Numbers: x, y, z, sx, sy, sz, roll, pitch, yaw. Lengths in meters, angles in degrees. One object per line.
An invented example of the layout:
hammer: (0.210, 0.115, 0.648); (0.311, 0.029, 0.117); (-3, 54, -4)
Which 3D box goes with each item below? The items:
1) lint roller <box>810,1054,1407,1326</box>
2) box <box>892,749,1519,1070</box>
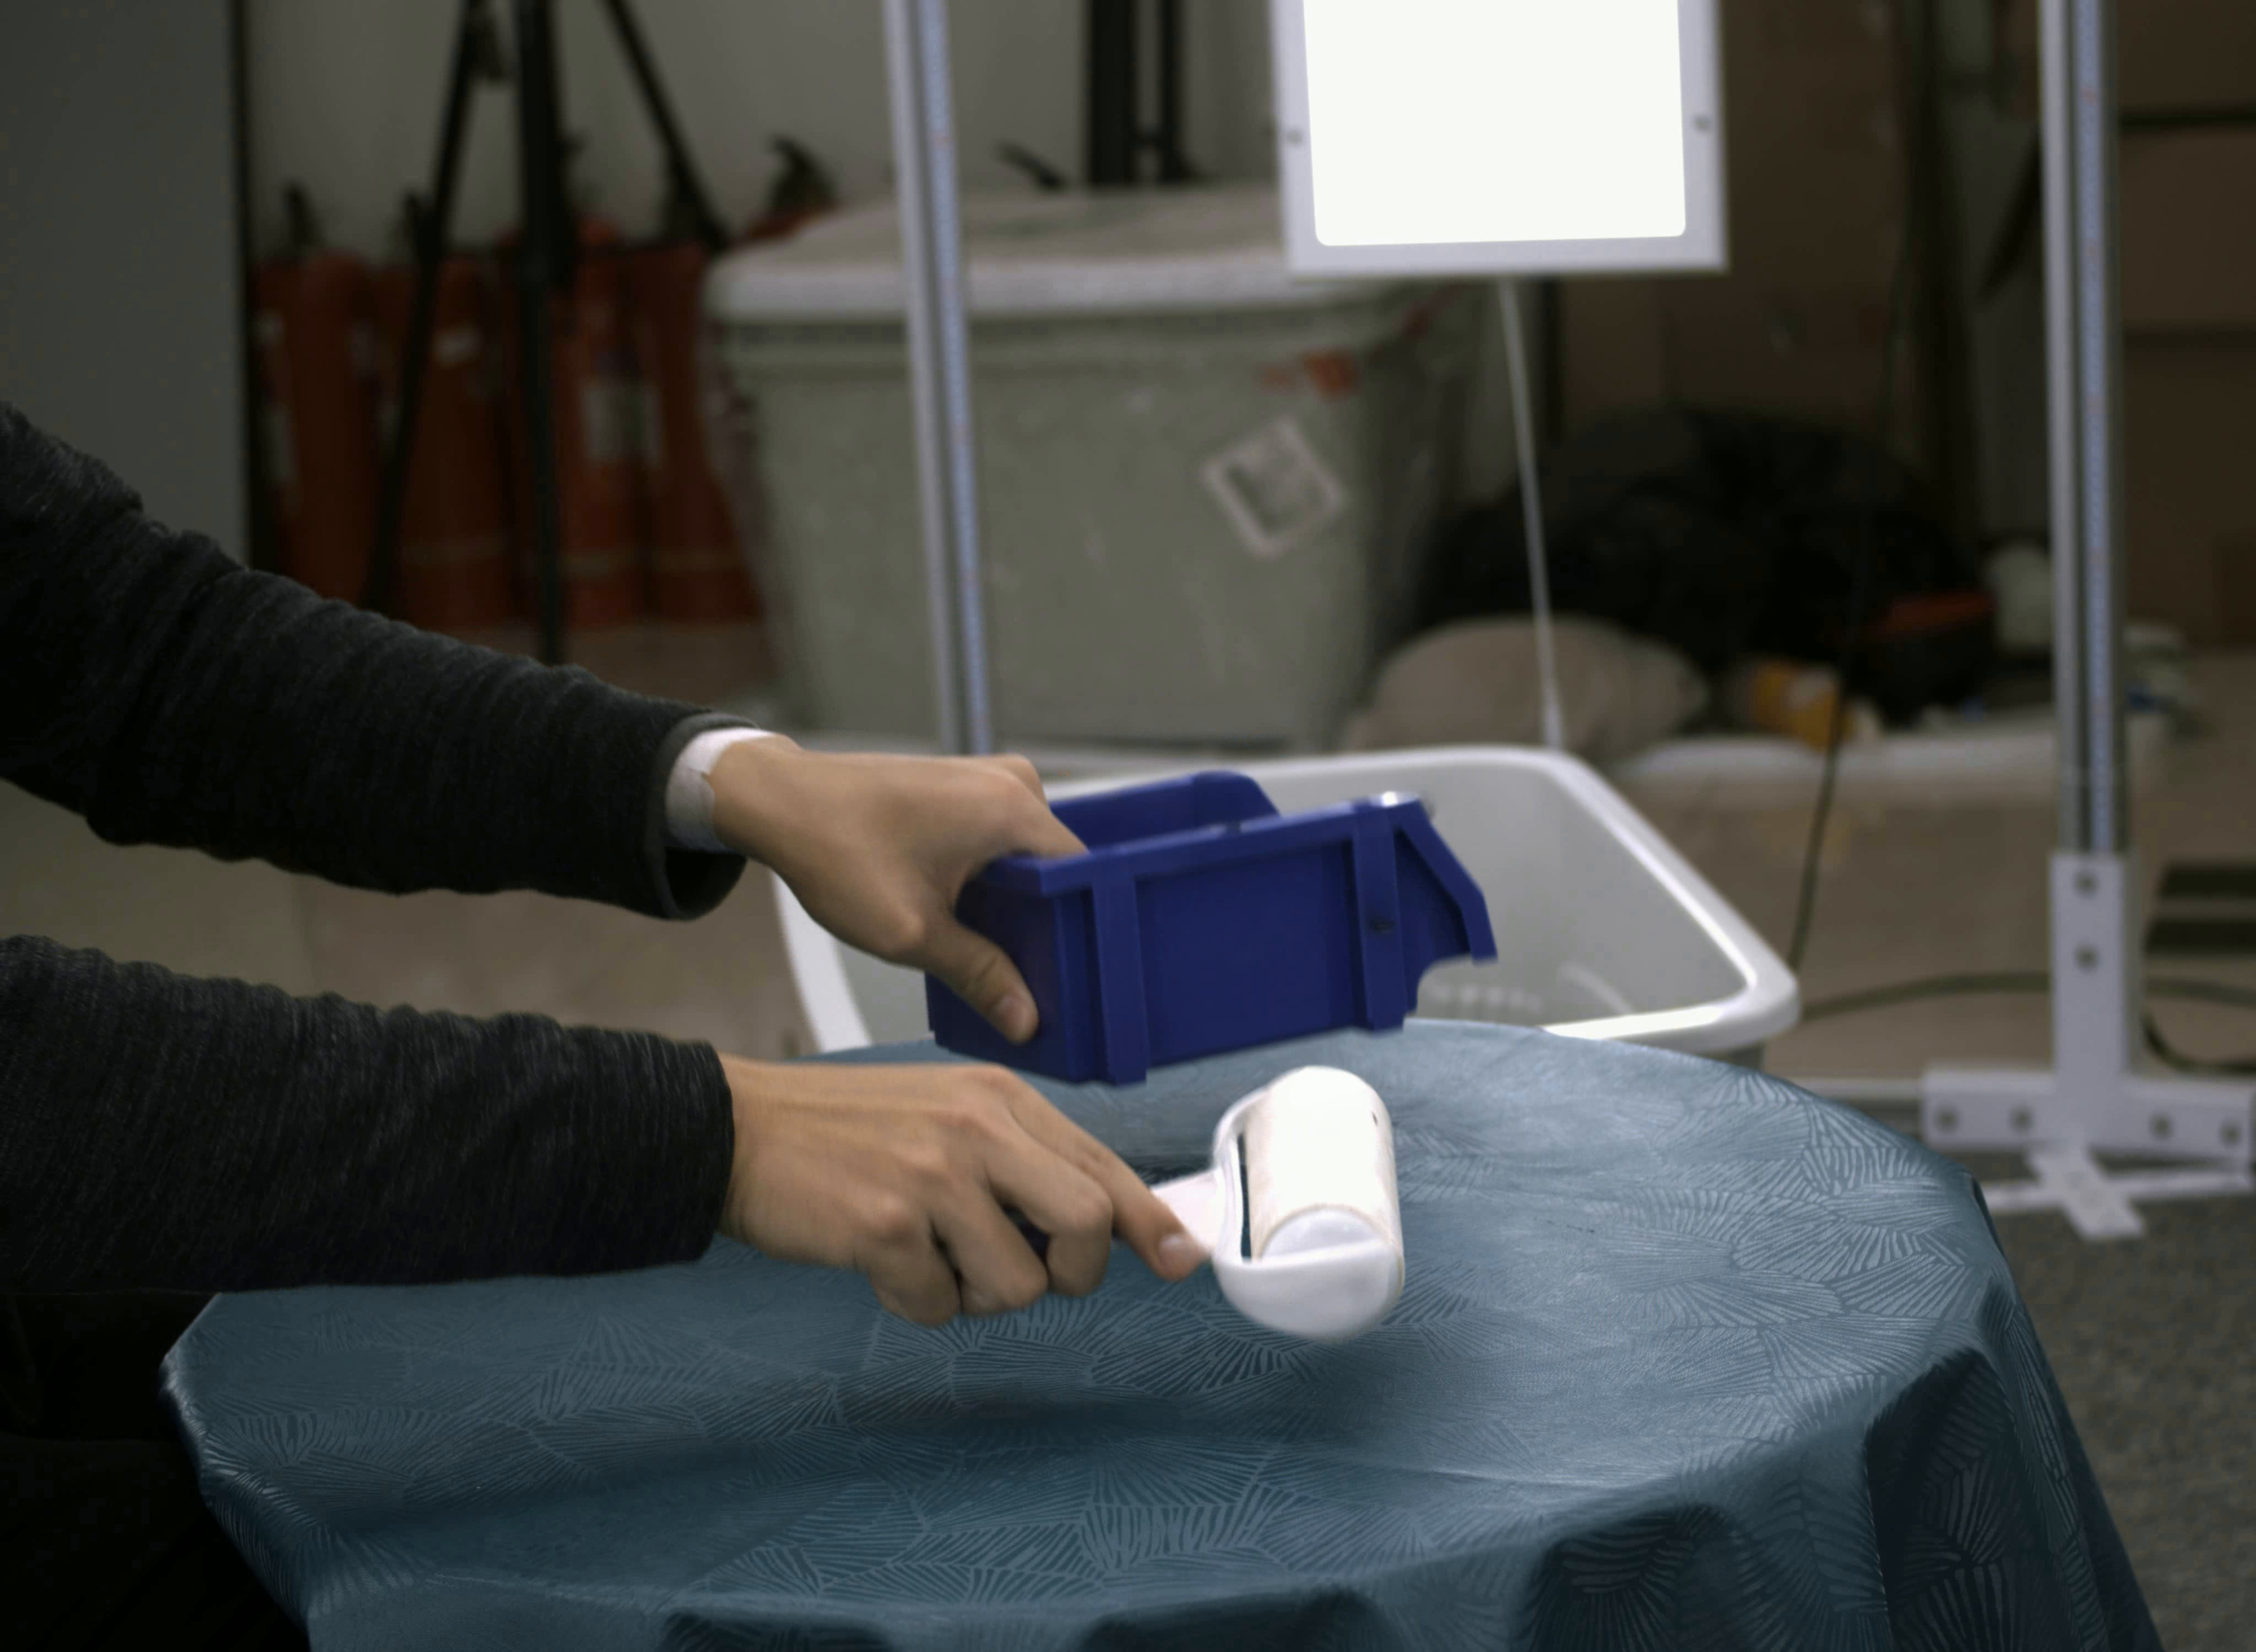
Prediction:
lint roller: (-0.006, 0.108, 1.684); (0.180, 0.050, 0.132); (3, 22, 1)
box: (0.027, 0.026, 1.919); (0.175, 0.082, 0.127); (-14, 10, -26)
